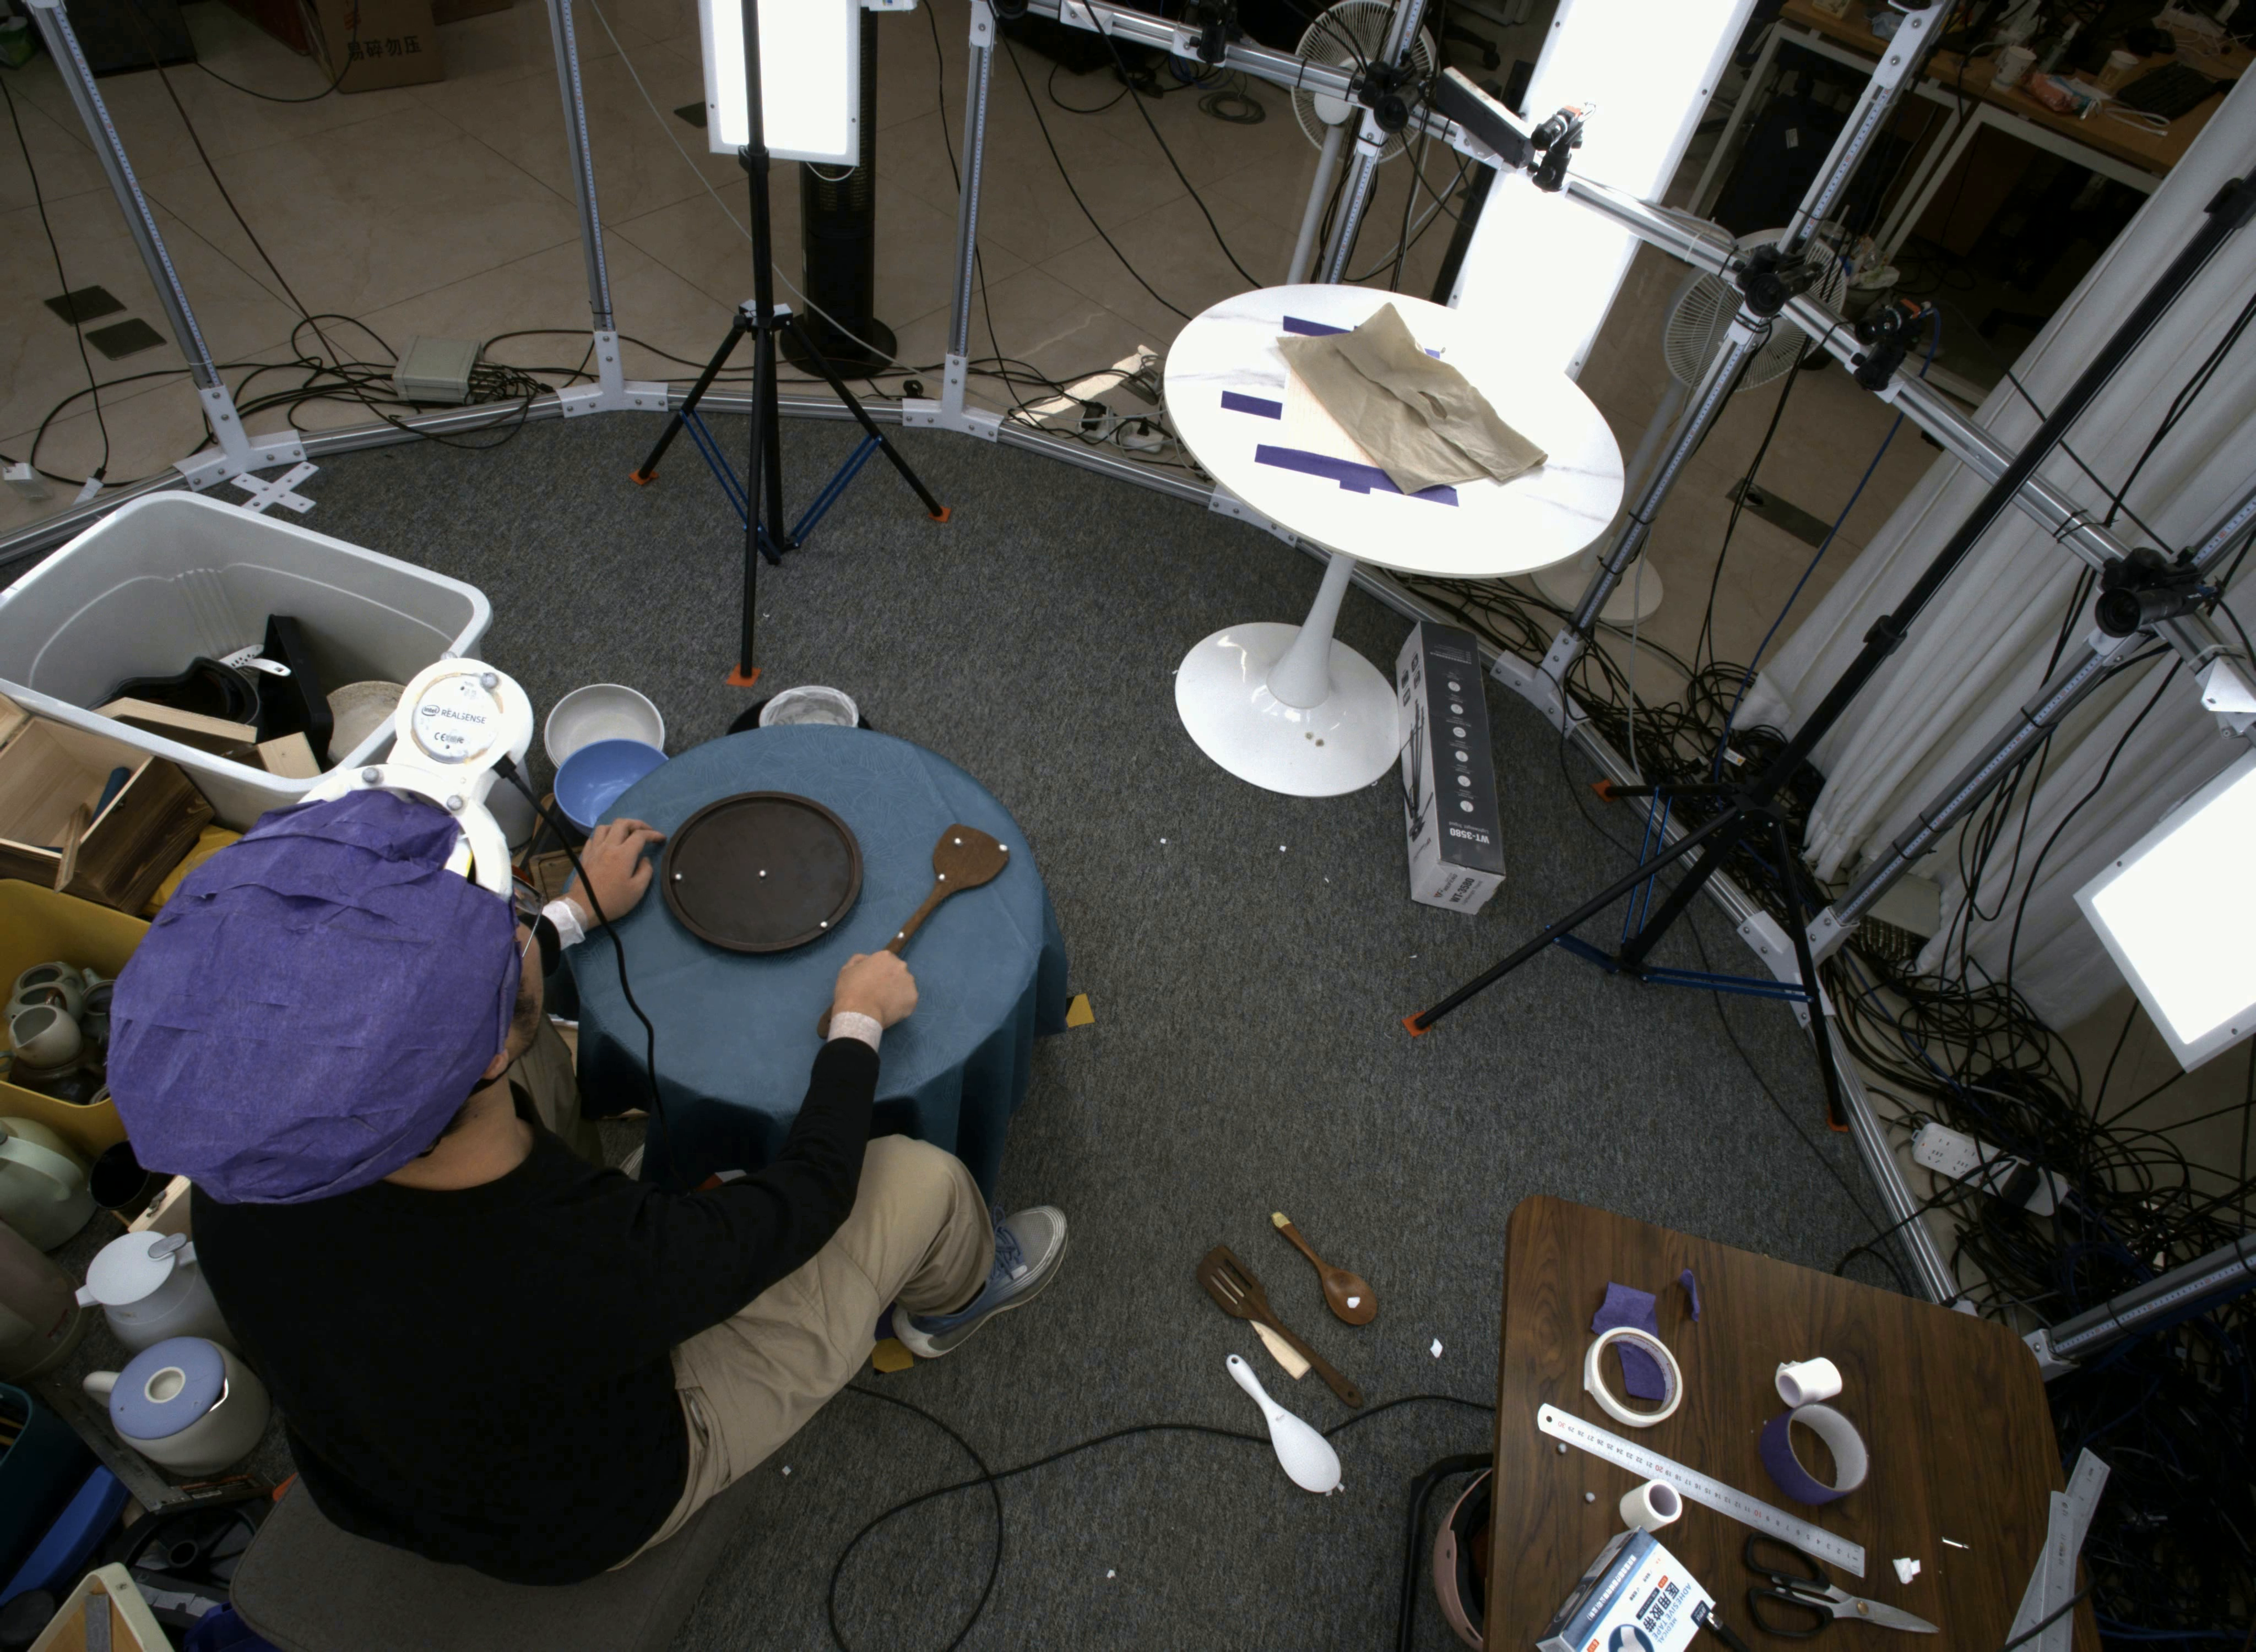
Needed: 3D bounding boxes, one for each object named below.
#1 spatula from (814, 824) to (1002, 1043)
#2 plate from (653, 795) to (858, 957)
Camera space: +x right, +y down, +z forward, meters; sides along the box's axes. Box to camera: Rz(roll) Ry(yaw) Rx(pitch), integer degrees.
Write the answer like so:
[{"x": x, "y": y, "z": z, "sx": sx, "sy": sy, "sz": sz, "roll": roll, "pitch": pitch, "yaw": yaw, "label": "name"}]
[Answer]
[{"x": -0.281, "y": 0.128, "z": 1.638, "sx": 0.094, "sy": 0.016, "sz": 0.384, "roll": 27, "pitch": 47, "yaw": 7, "label": "spatula"}, {"x": -0.472, "y": 0.060, "z": 1.647, "sx": 0.254, "sy": 0.029, "sz": 0.250, "roll": 9, "pitch": 52, "yaw": -10, "label": "plate"}]
